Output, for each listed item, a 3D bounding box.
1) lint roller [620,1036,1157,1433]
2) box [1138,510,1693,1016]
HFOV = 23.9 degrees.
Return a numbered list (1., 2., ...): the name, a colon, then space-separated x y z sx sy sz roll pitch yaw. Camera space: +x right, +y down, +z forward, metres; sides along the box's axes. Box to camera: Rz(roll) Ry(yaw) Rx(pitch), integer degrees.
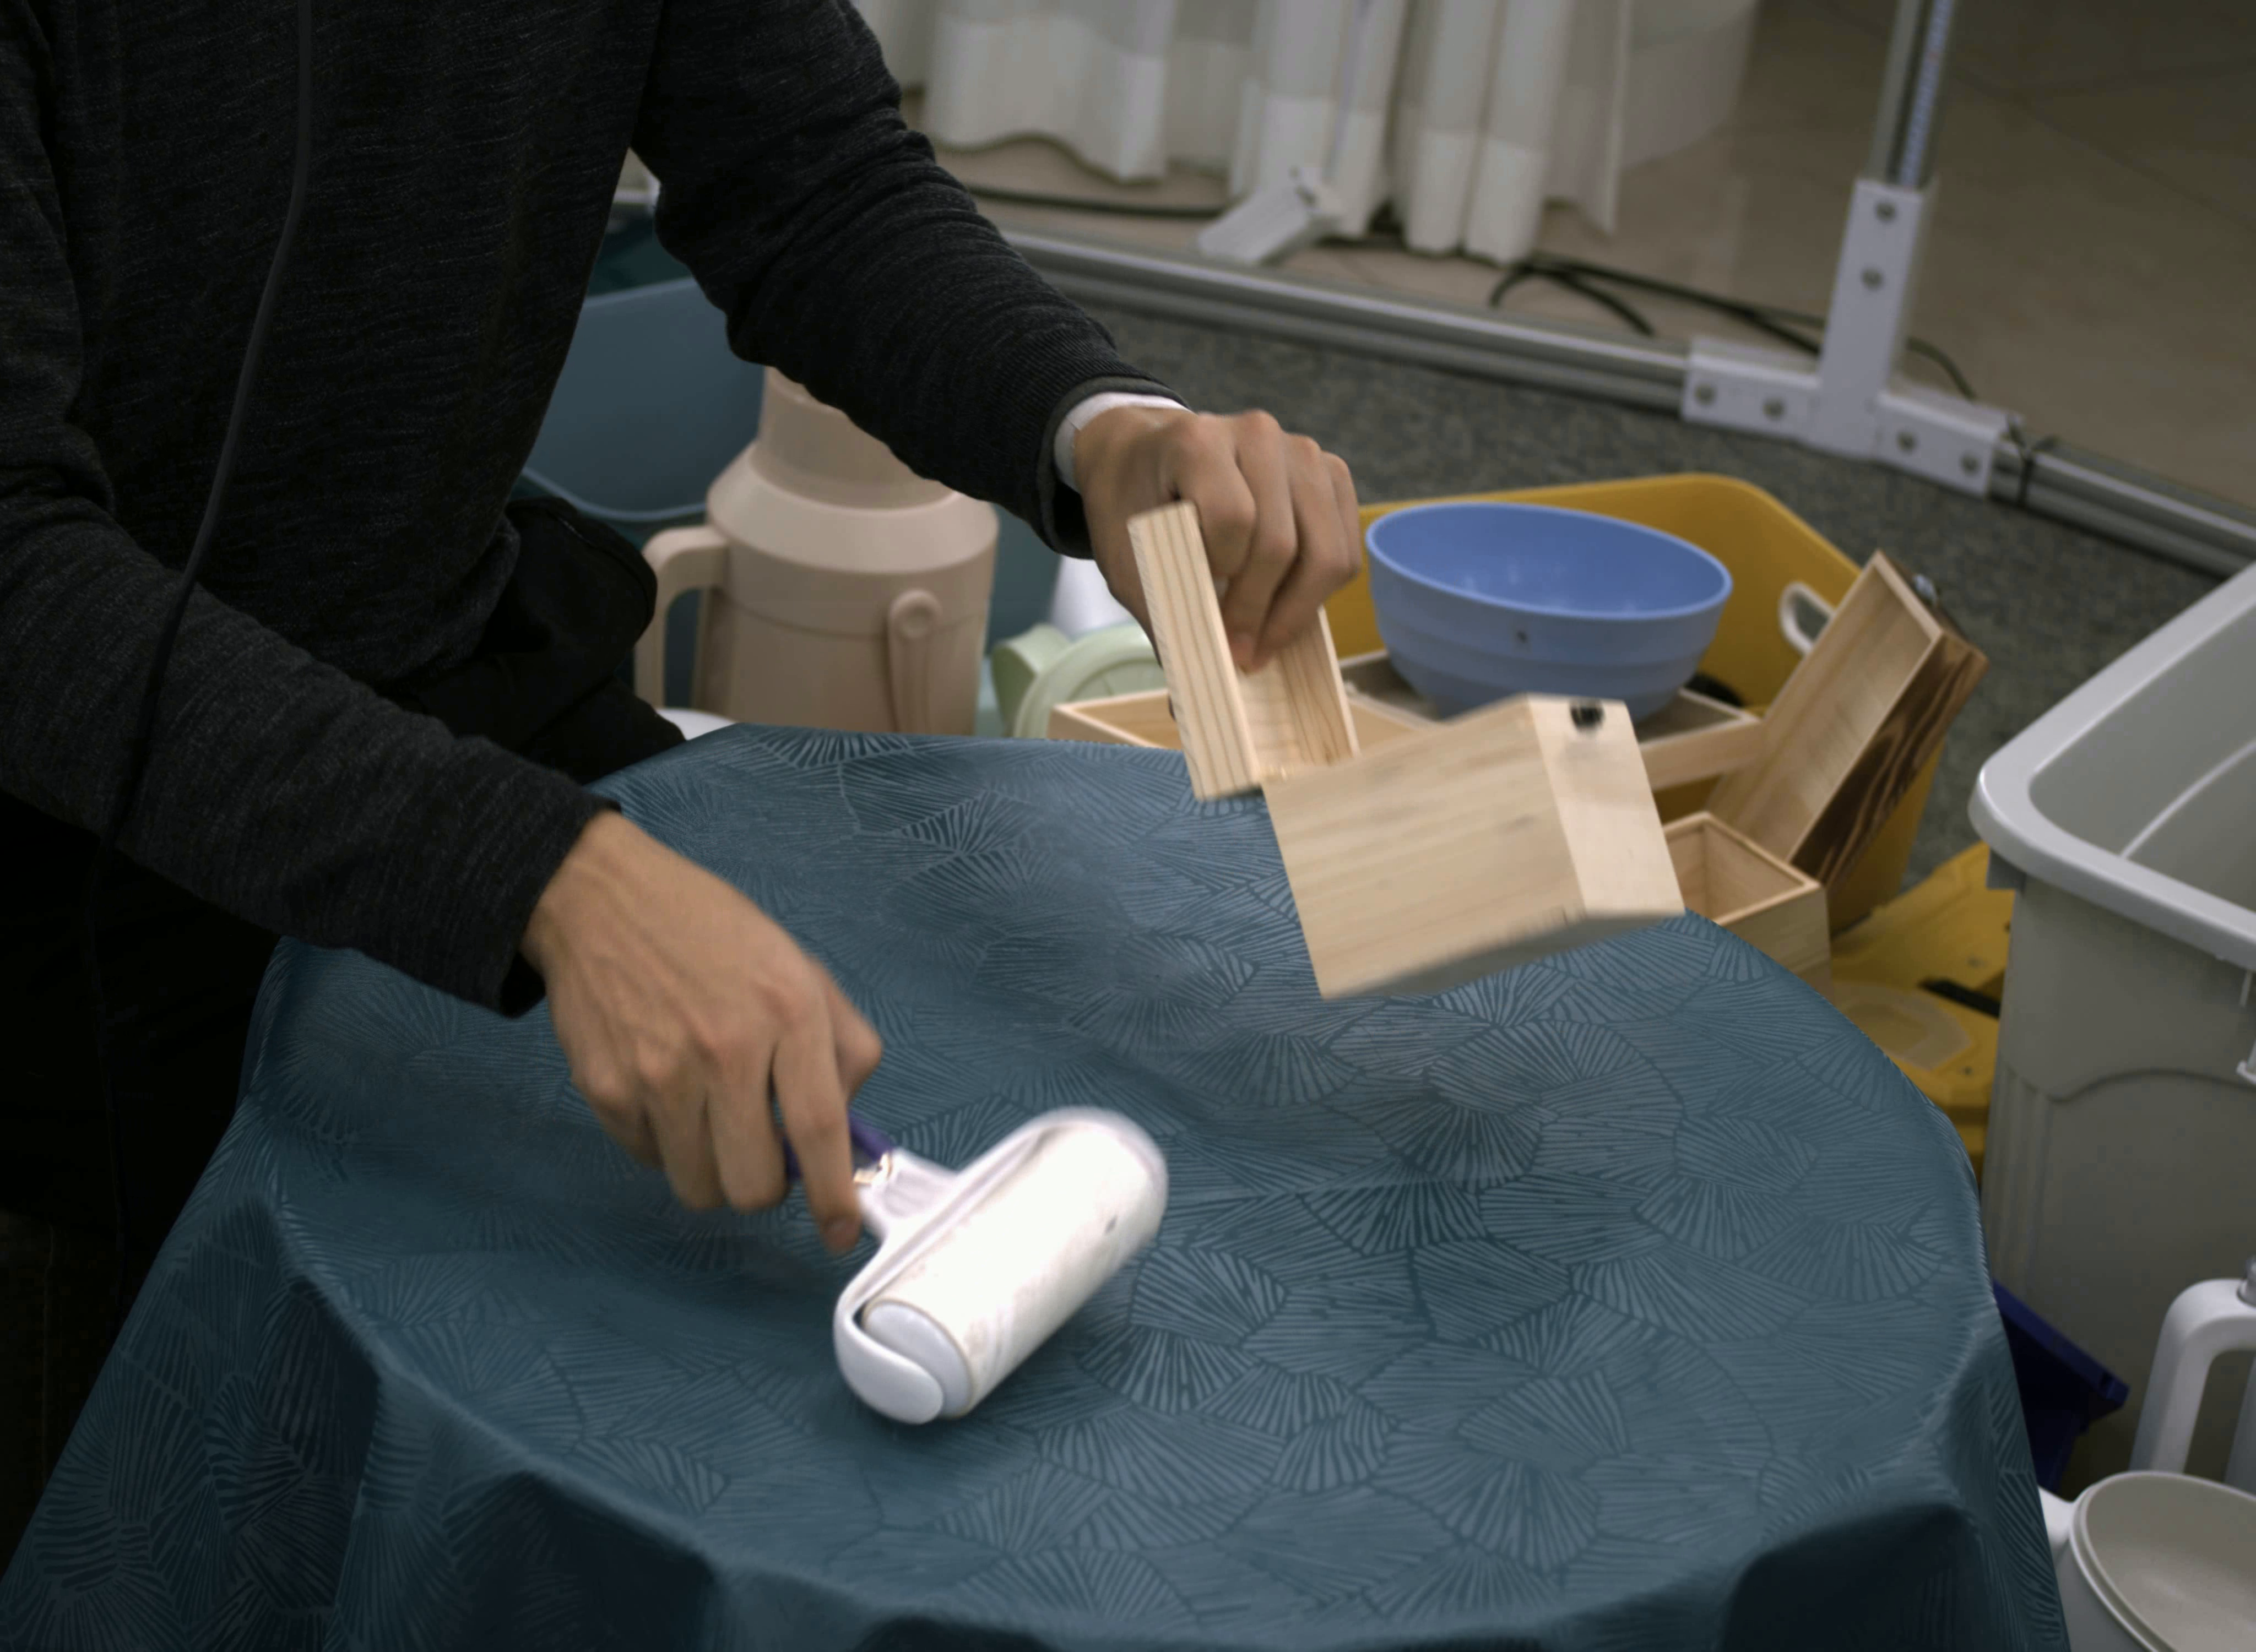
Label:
1. lint roller: -0.088 0.110 1.705 0.182 0.050 0.132 37 46 19
2. box: 0.101 -0.034 1.844 0.134 0.185 0.102 -19 -8 24
